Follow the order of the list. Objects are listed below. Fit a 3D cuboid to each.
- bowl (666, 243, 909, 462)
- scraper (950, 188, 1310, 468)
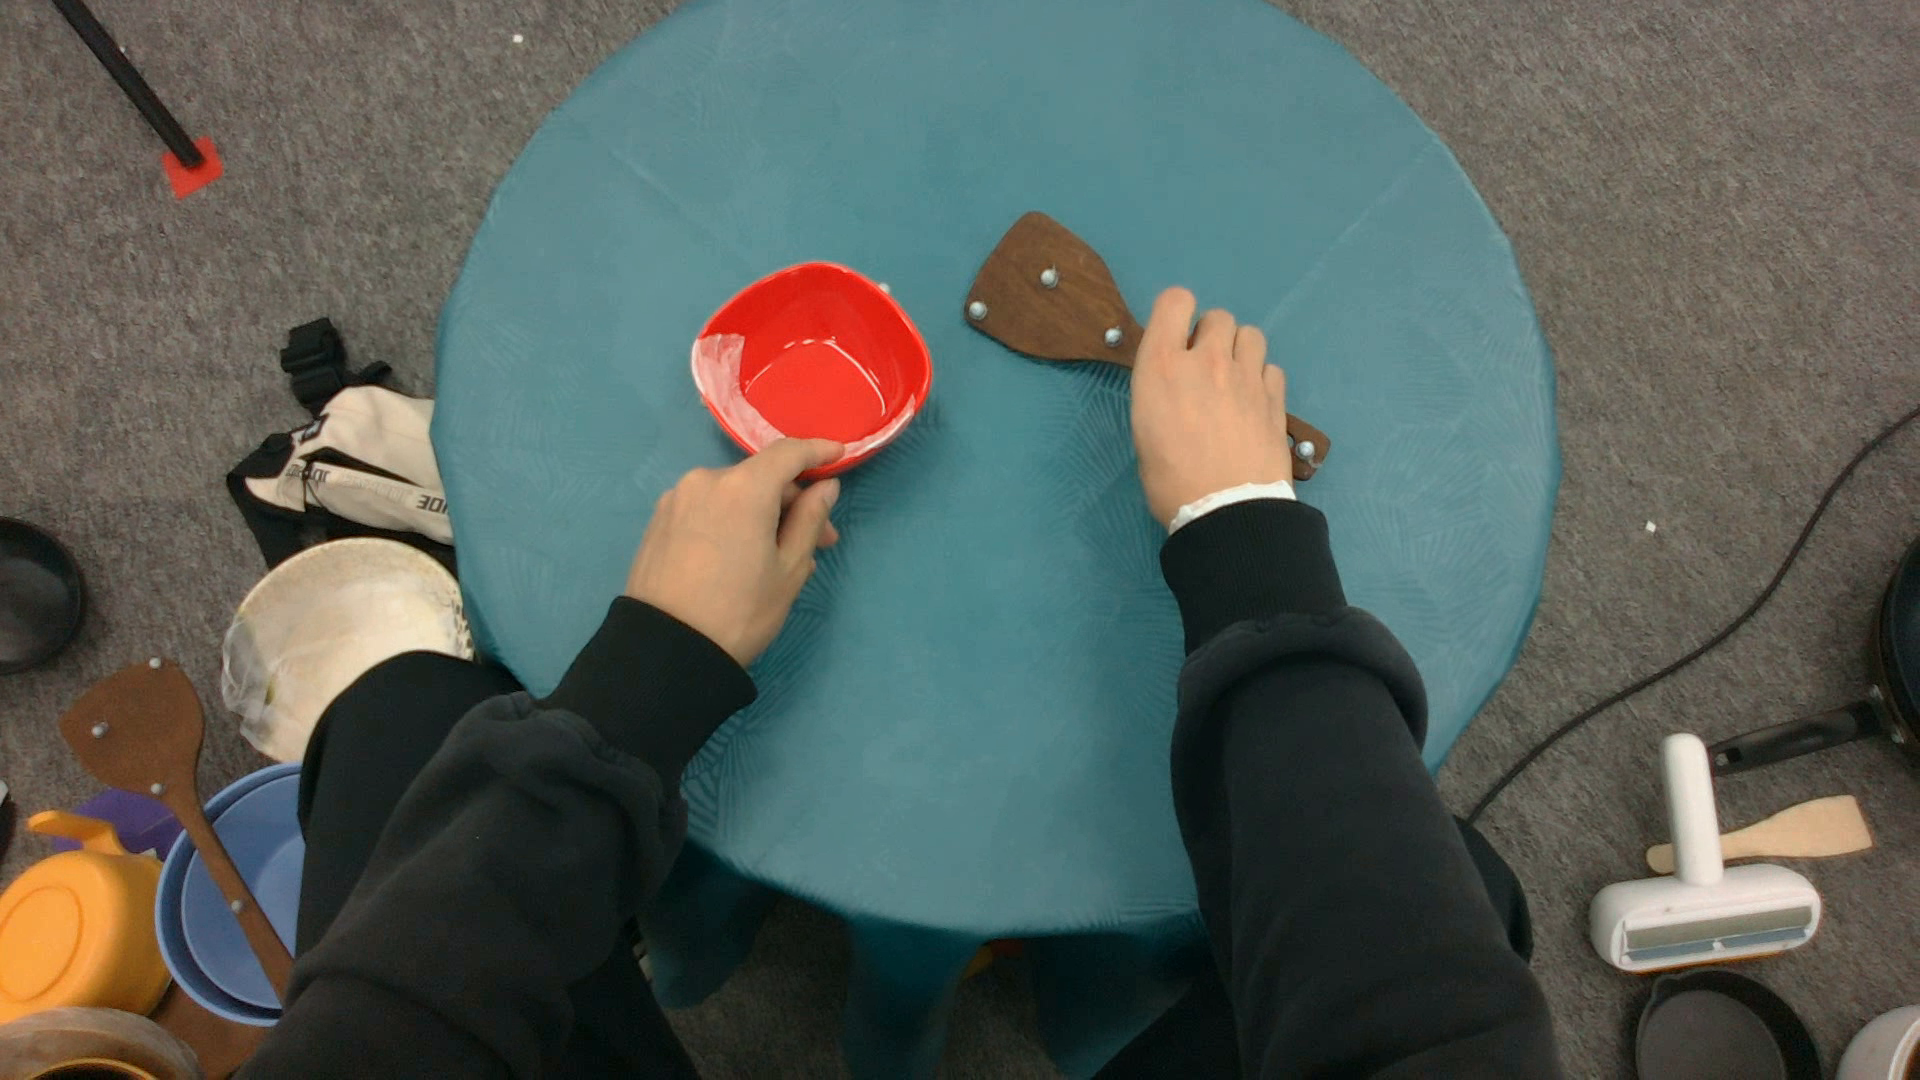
[{"bbox_3d":[-0.086,-0.087,0.700,0.119,0.051,0.119,2,67,-5],"label":"bowl"},{"bbox_3d":[0.092,-0.106,0.729,0.211,0.011,0.076,37,88,13],"label":"scraper"}]
